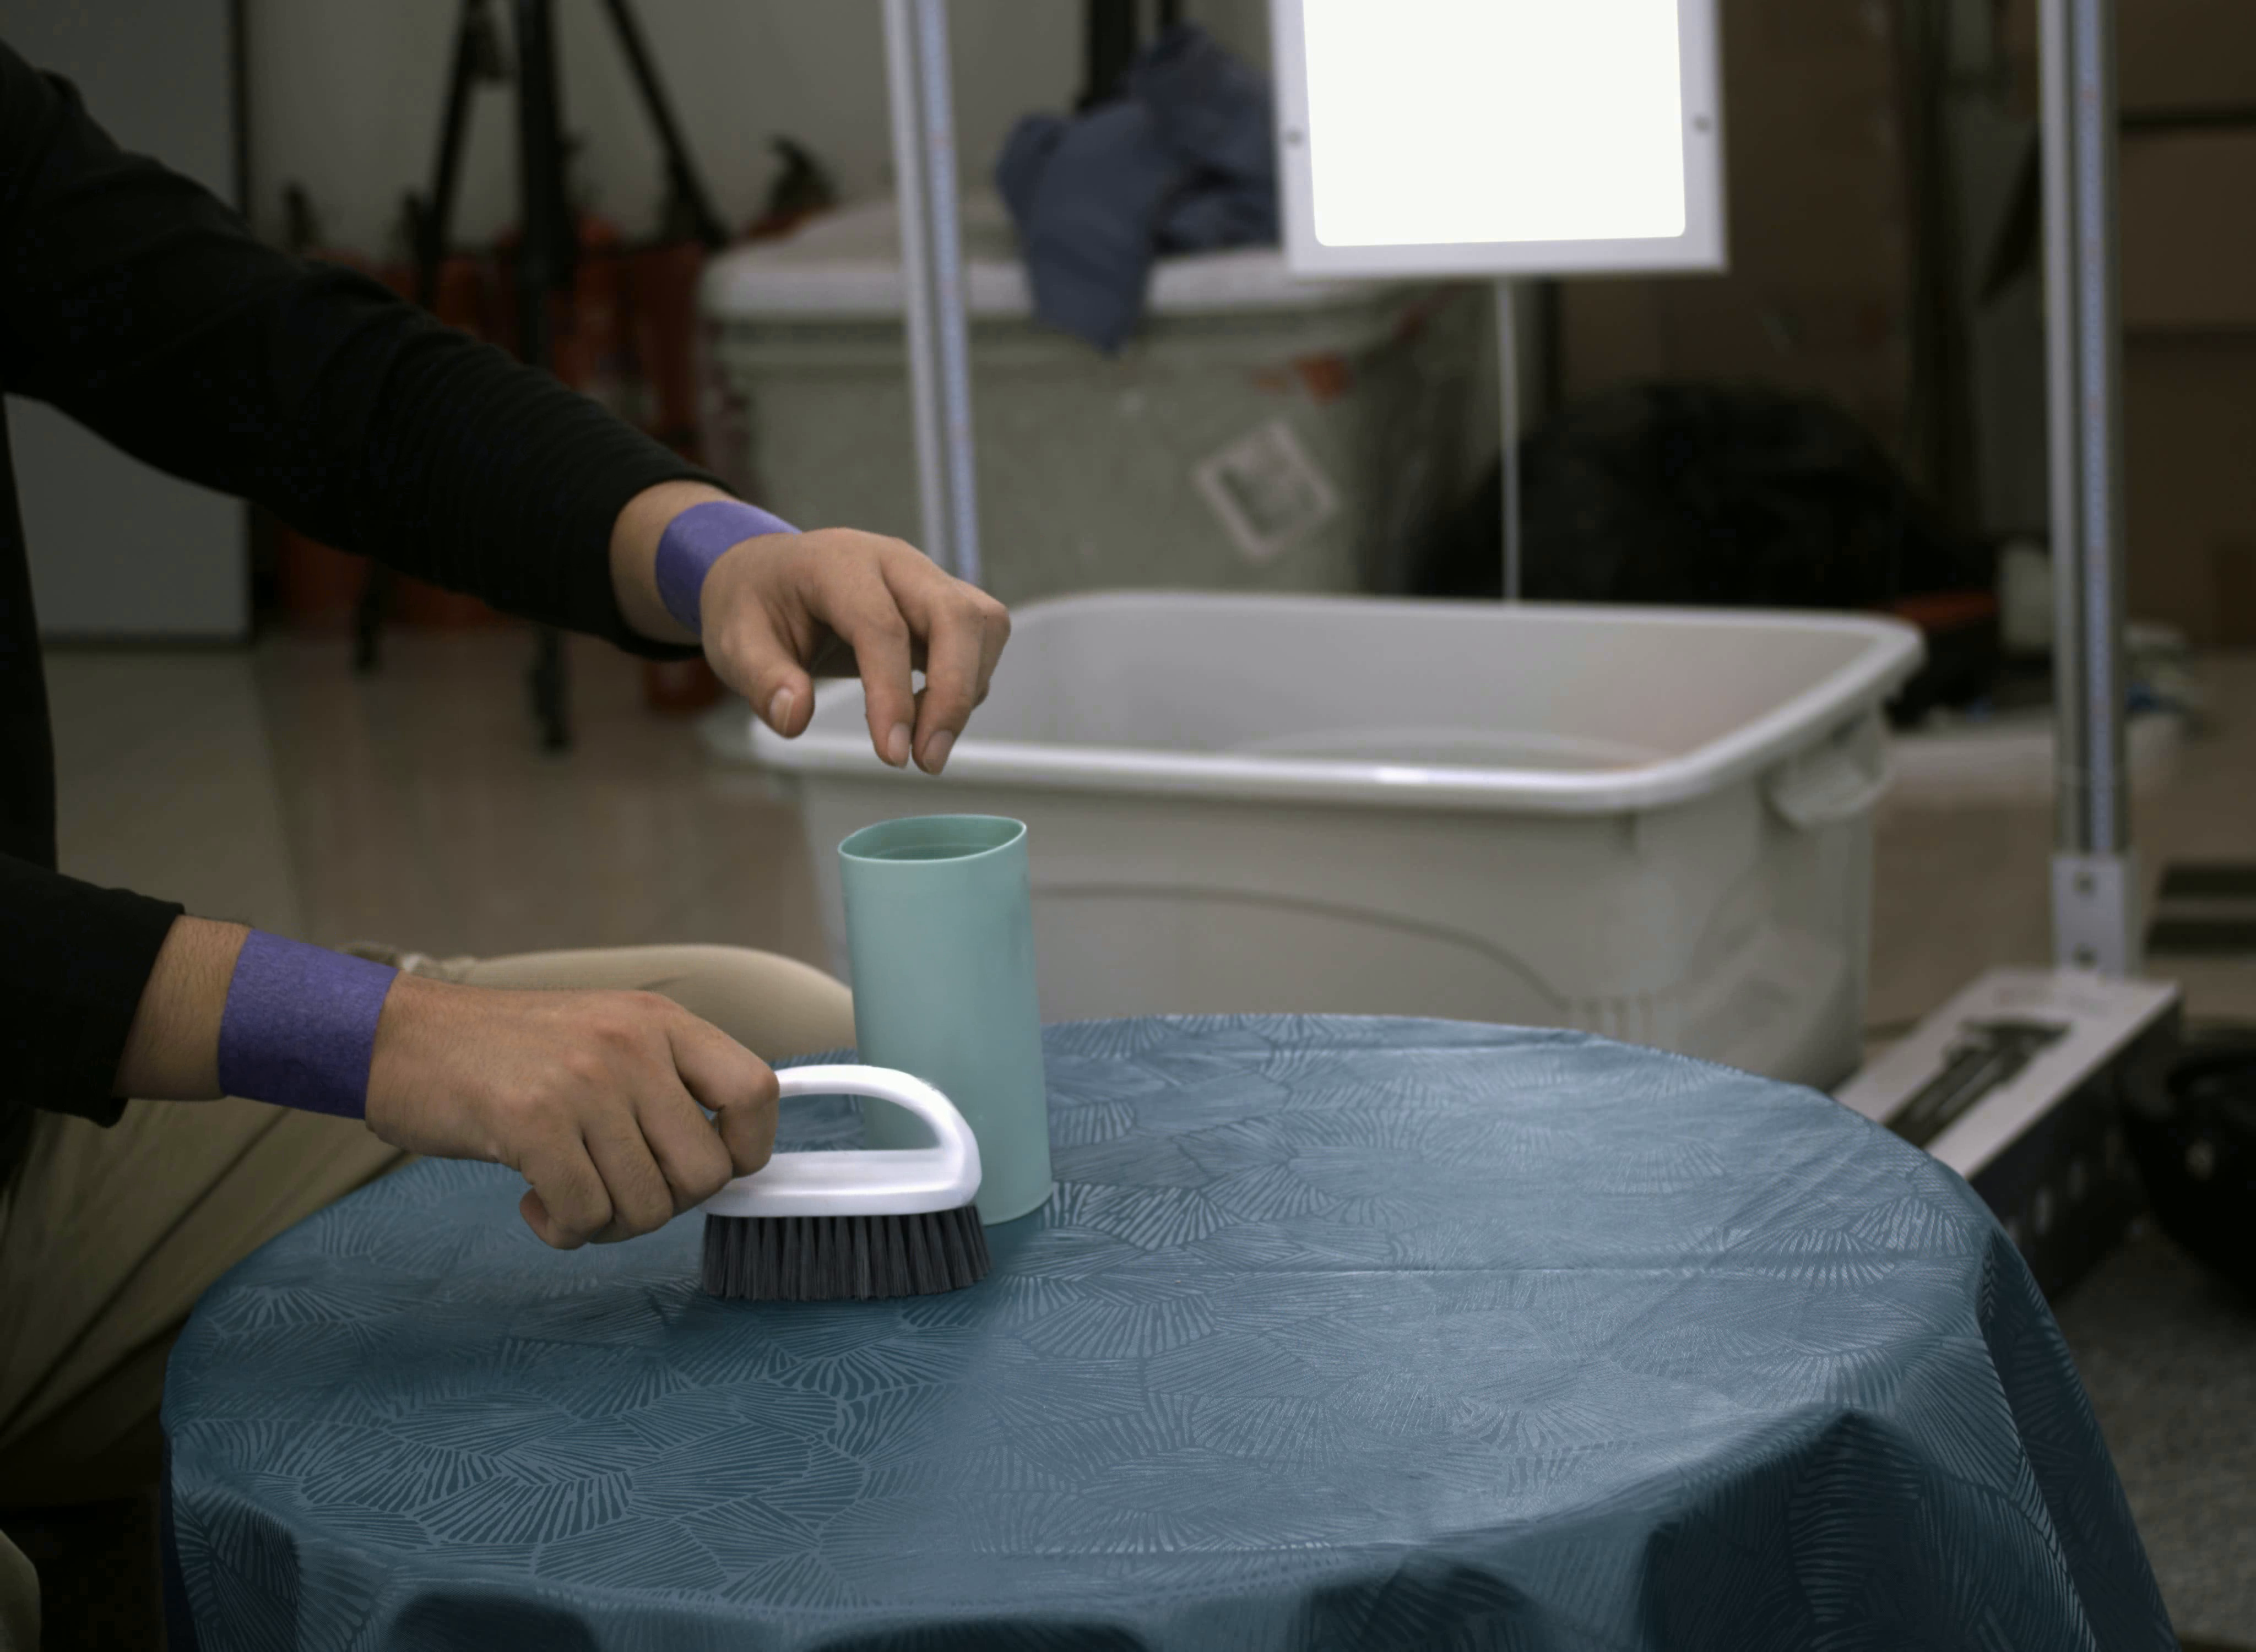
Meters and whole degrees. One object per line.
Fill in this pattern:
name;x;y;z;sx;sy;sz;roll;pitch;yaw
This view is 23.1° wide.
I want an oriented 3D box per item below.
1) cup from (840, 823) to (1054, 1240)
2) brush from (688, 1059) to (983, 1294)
cup;-0.062;0.070;1.889;0.066;0.133;0.066;-4;14;0
brush;-0.098;0.113;1.826;0.100;0.073;0.049;0;13;14
